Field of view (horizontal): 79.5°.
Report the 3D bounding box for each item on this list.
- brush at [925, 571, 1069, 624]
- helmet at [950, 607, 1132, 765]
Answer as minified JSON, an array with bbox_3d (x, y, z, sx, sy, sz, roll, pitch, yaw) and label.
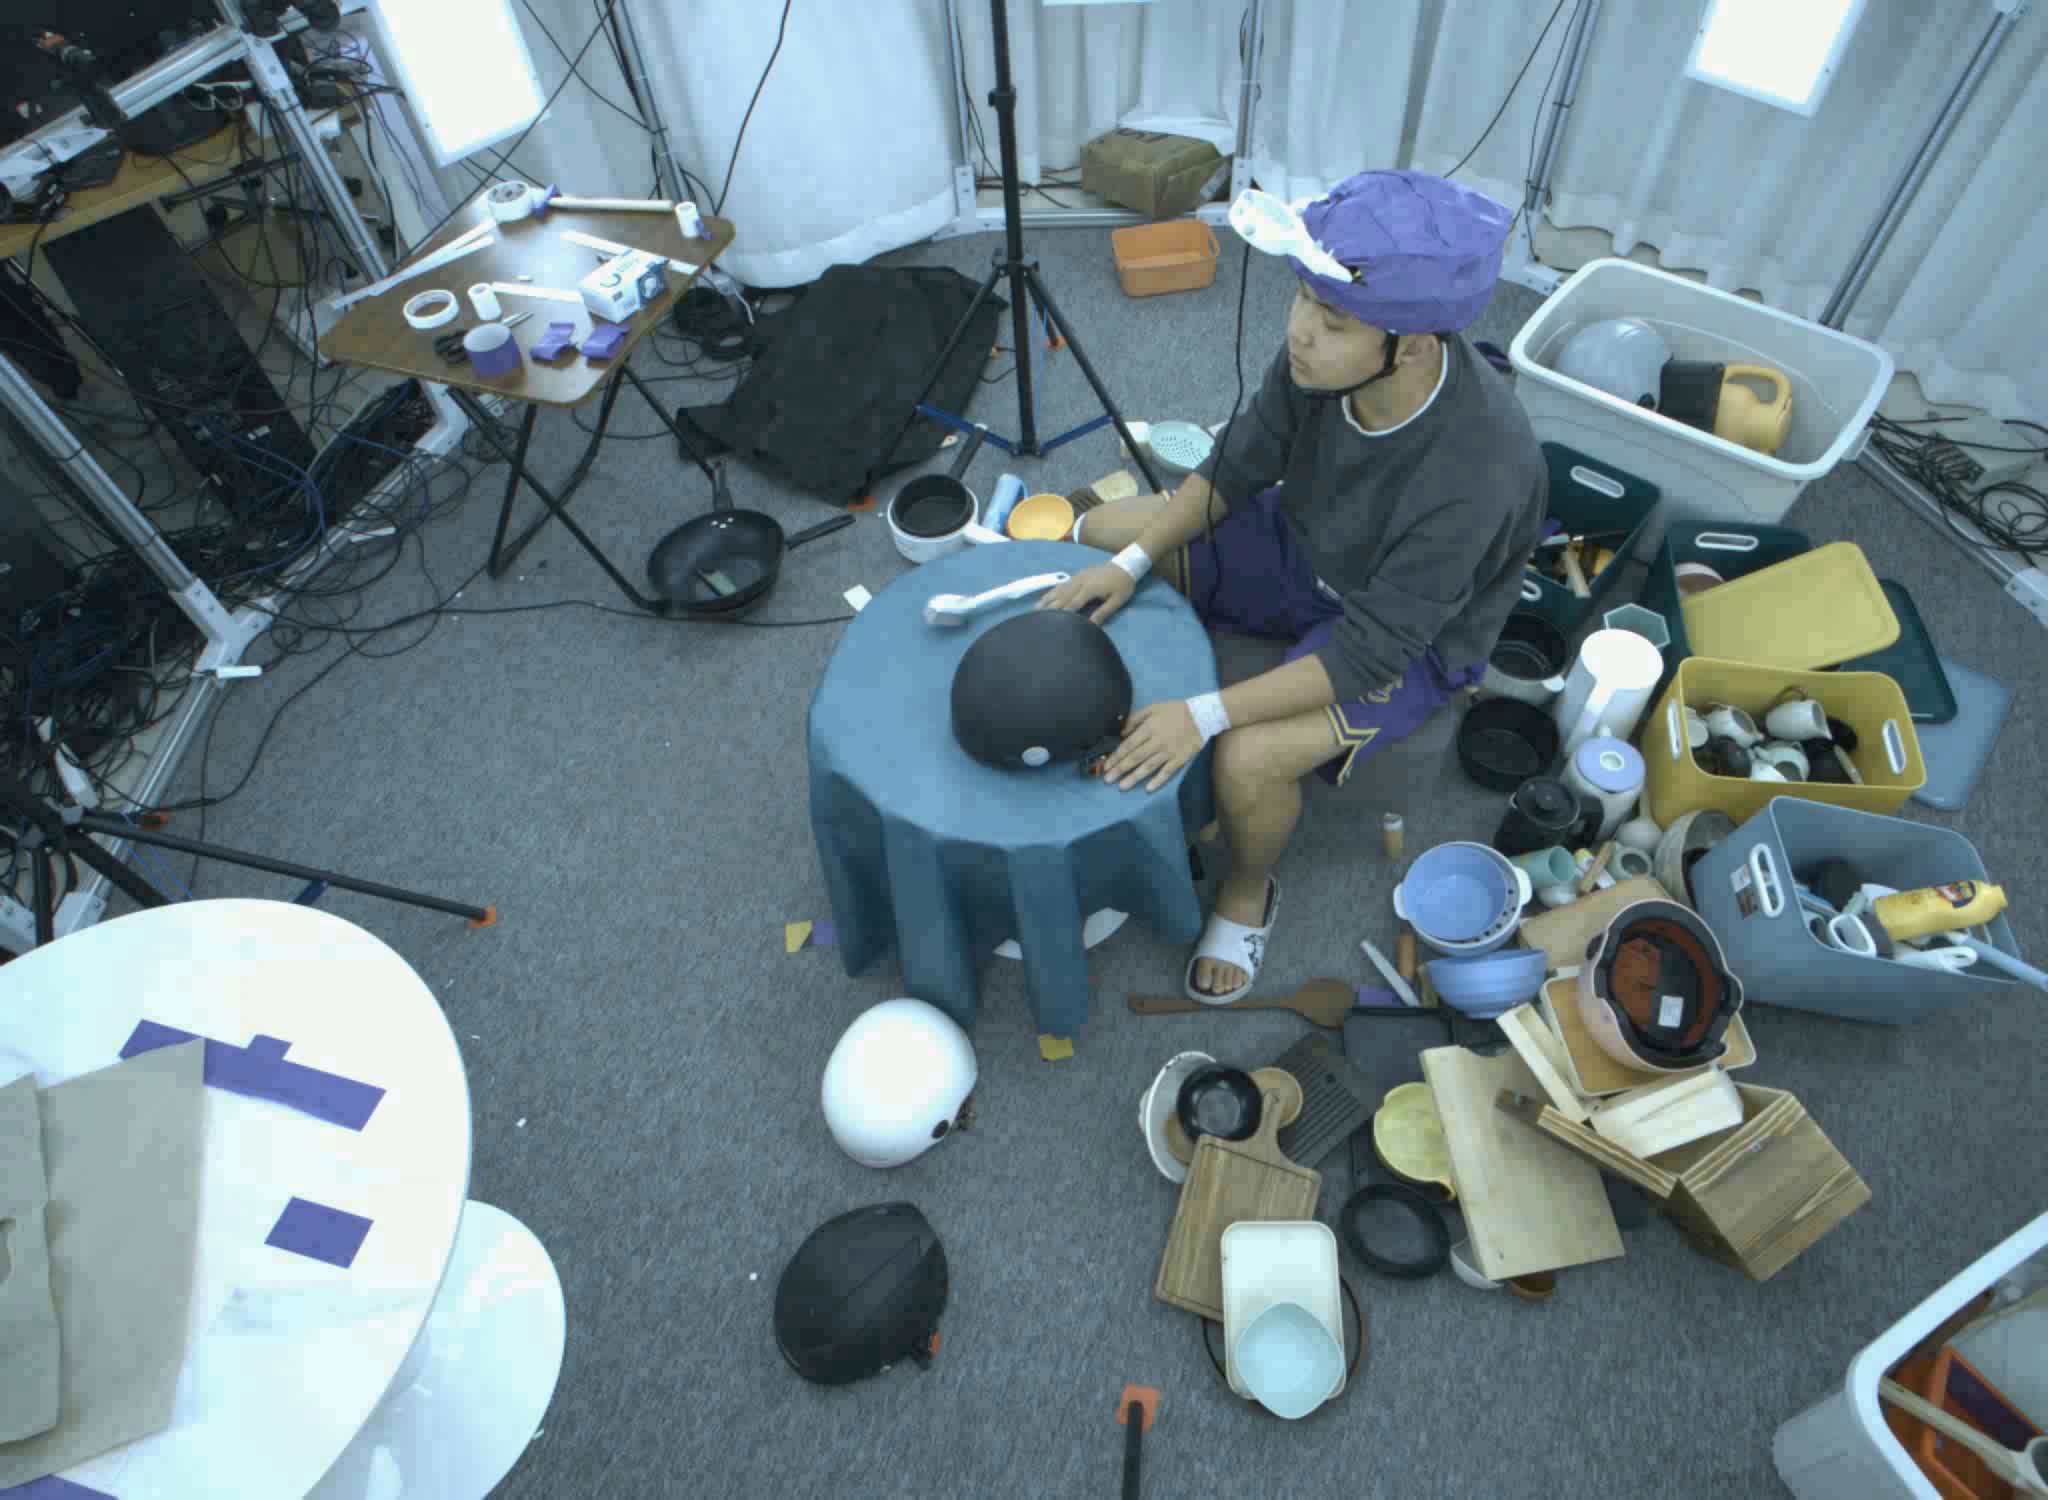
[{"bbox_3d":[-0.041,-0.241,1.948,0.247,0.050,0.034,-14,50,-24],"label":"brush"},{"bbox_3d":[0.018,-0.108,1.769,0.274,0.169,0.226,-15,53,-6],"label":"helmet"}]
